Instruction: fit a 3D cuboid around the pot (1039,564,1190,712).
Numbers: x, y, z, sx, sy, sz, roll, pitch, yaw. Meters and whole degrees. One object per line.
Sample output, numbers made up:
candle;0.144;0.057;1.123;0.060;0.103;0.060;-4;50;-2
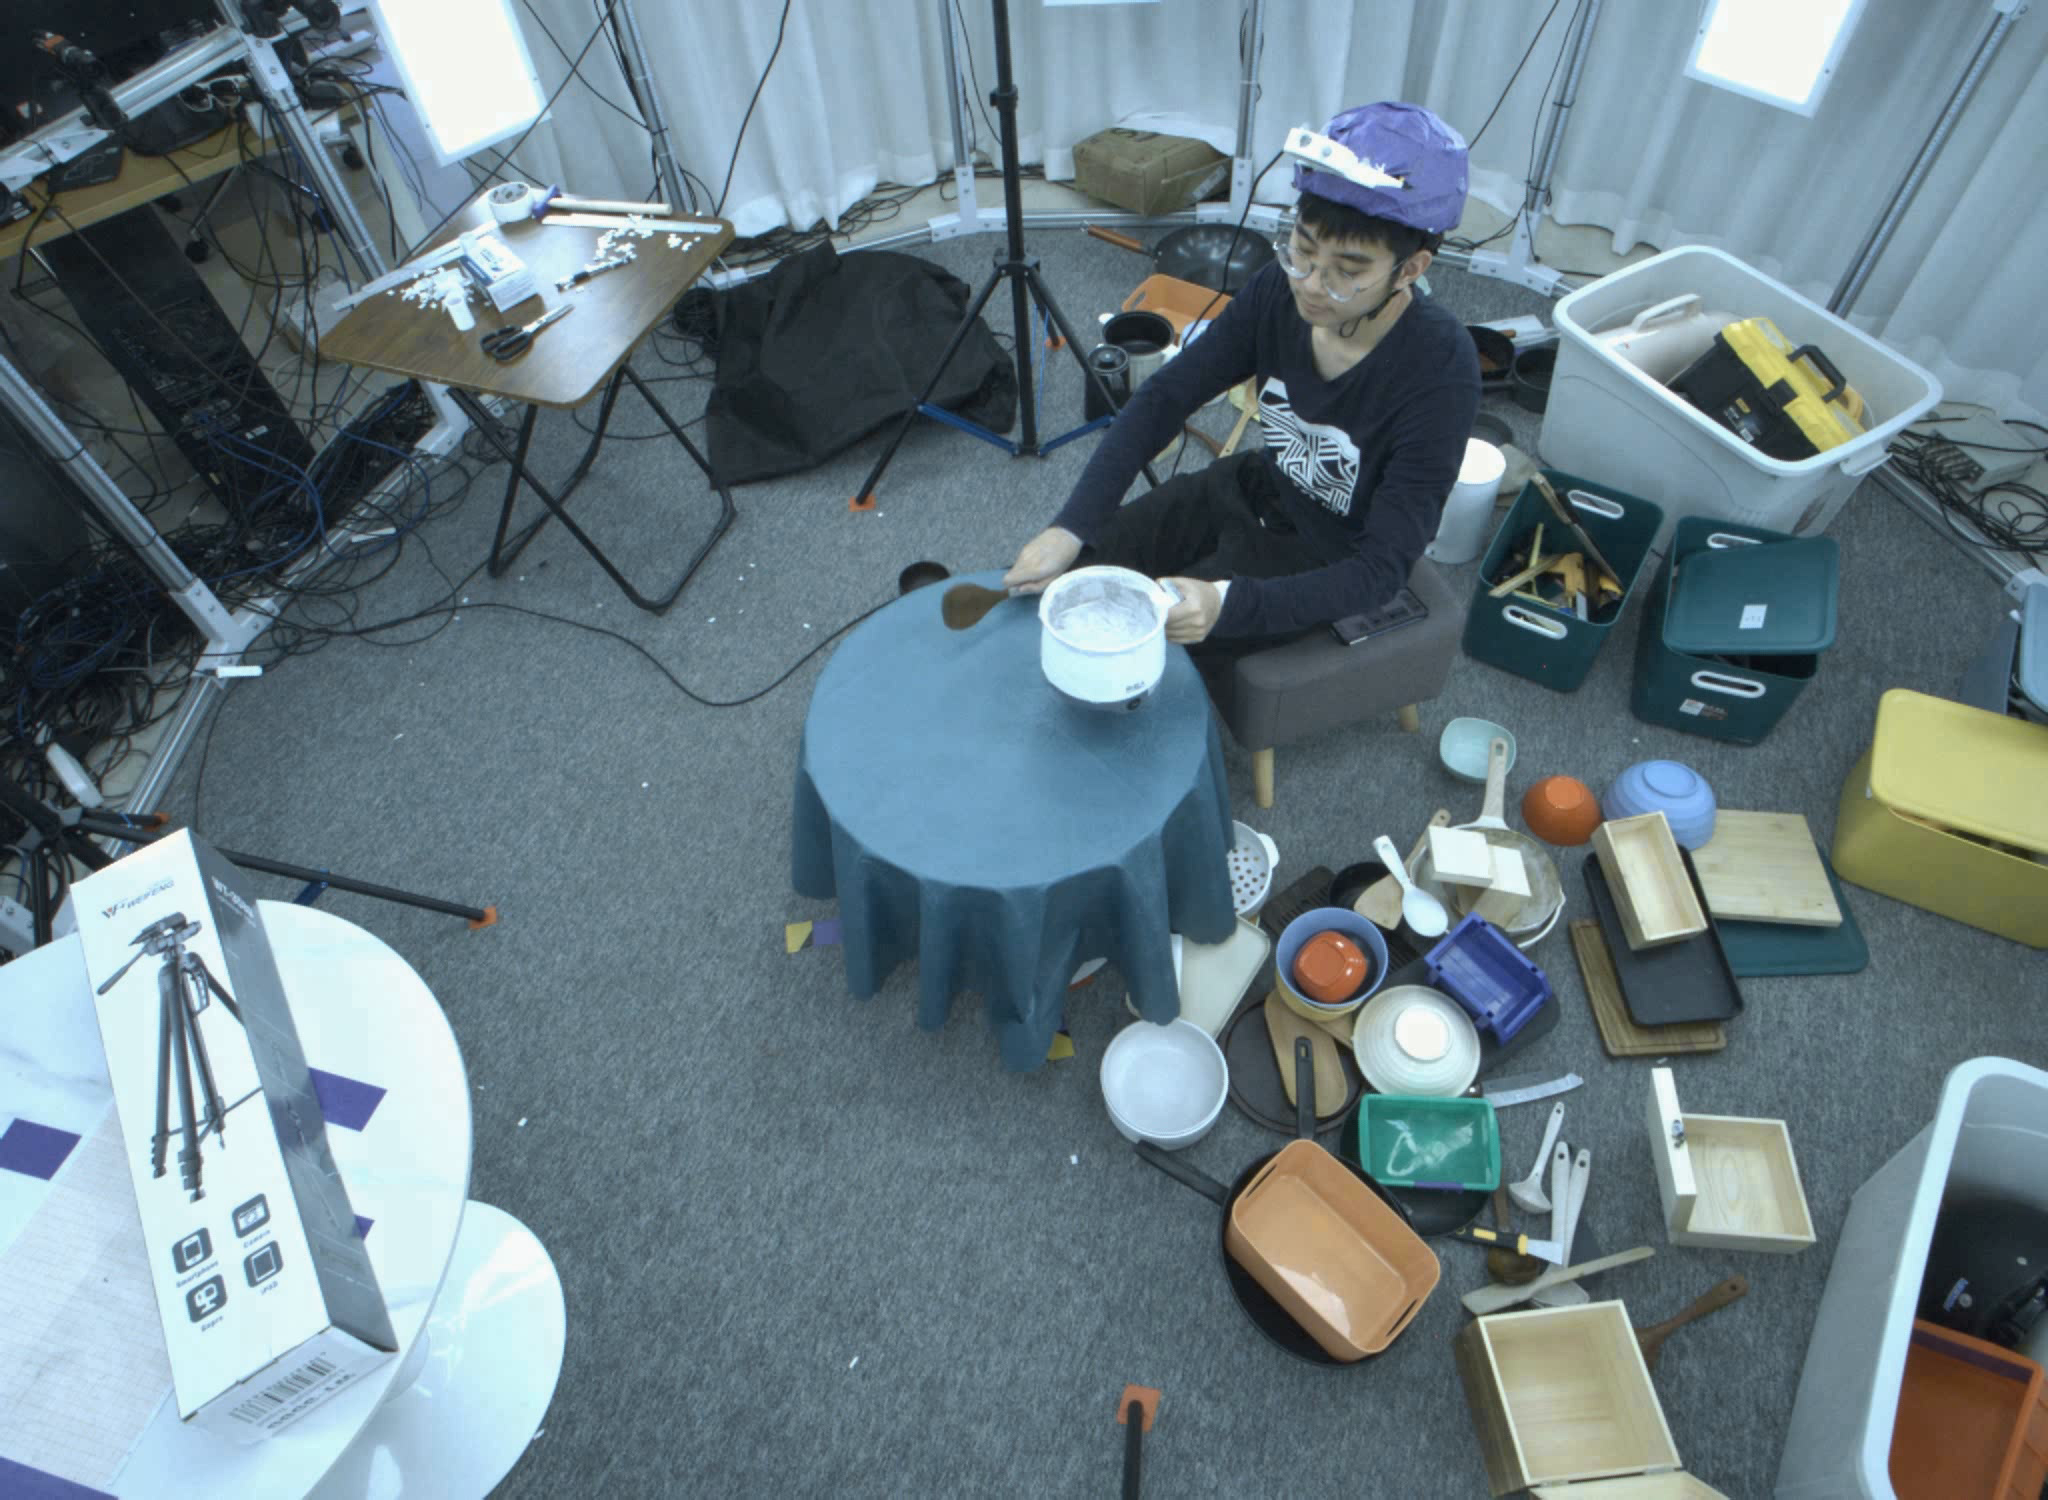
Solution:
pot;0.135;-0.167;1.750;0.236;0.138;0.175;-25;56;-19

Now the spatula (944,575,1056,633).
spatula;-0.036;-0.238;1.913;0.218;0.072;0.009;-23;45;-29
